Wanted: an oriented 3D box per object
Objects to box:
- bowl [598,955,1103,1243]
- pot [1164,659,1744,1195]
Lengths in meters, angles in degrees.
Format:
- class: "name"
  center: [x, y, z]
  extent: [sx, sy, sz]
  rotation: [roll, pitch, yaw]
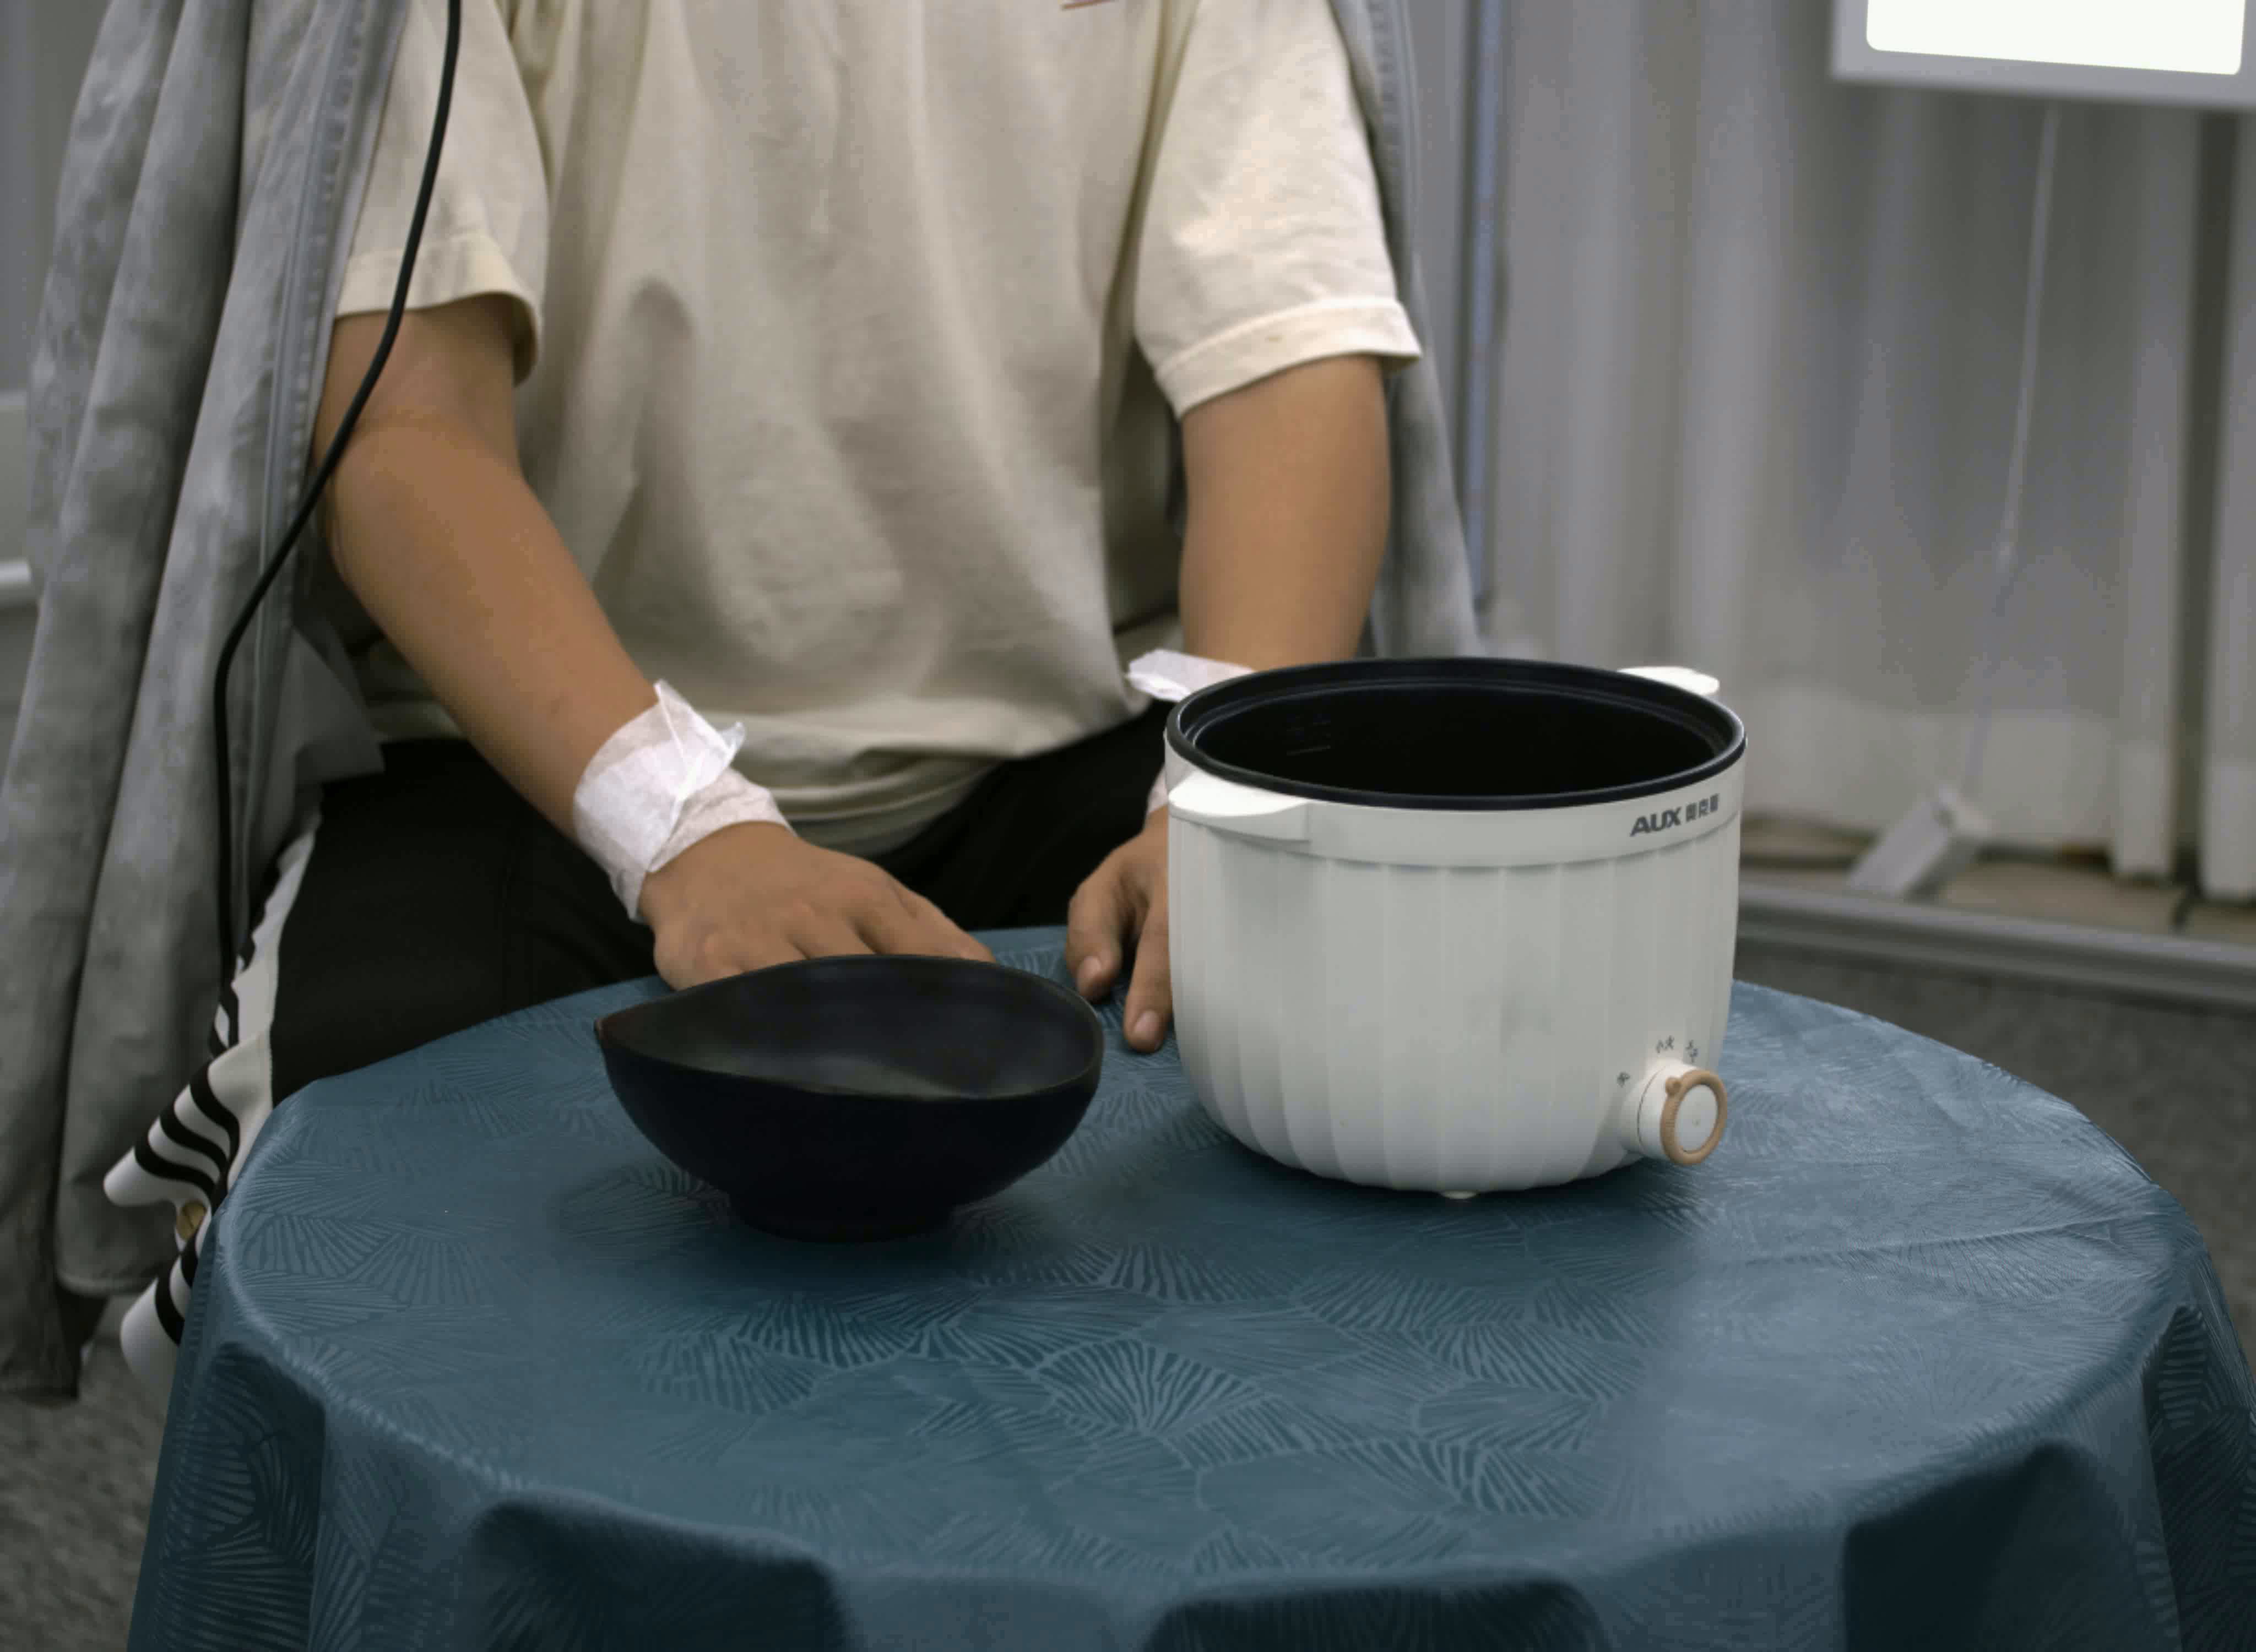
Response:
- class: "bowl"
  center: [-0.086, 0.086, 1.597]
  extent: [0.168, 0.067, 0.138]
  rotation: [11, 17, 35]
- class: "pot"
  center: [0.107, 0.033, 1.658]
  extent: [0.188, 0.144, 0.241]
  rotation: [11, 19, 42]
